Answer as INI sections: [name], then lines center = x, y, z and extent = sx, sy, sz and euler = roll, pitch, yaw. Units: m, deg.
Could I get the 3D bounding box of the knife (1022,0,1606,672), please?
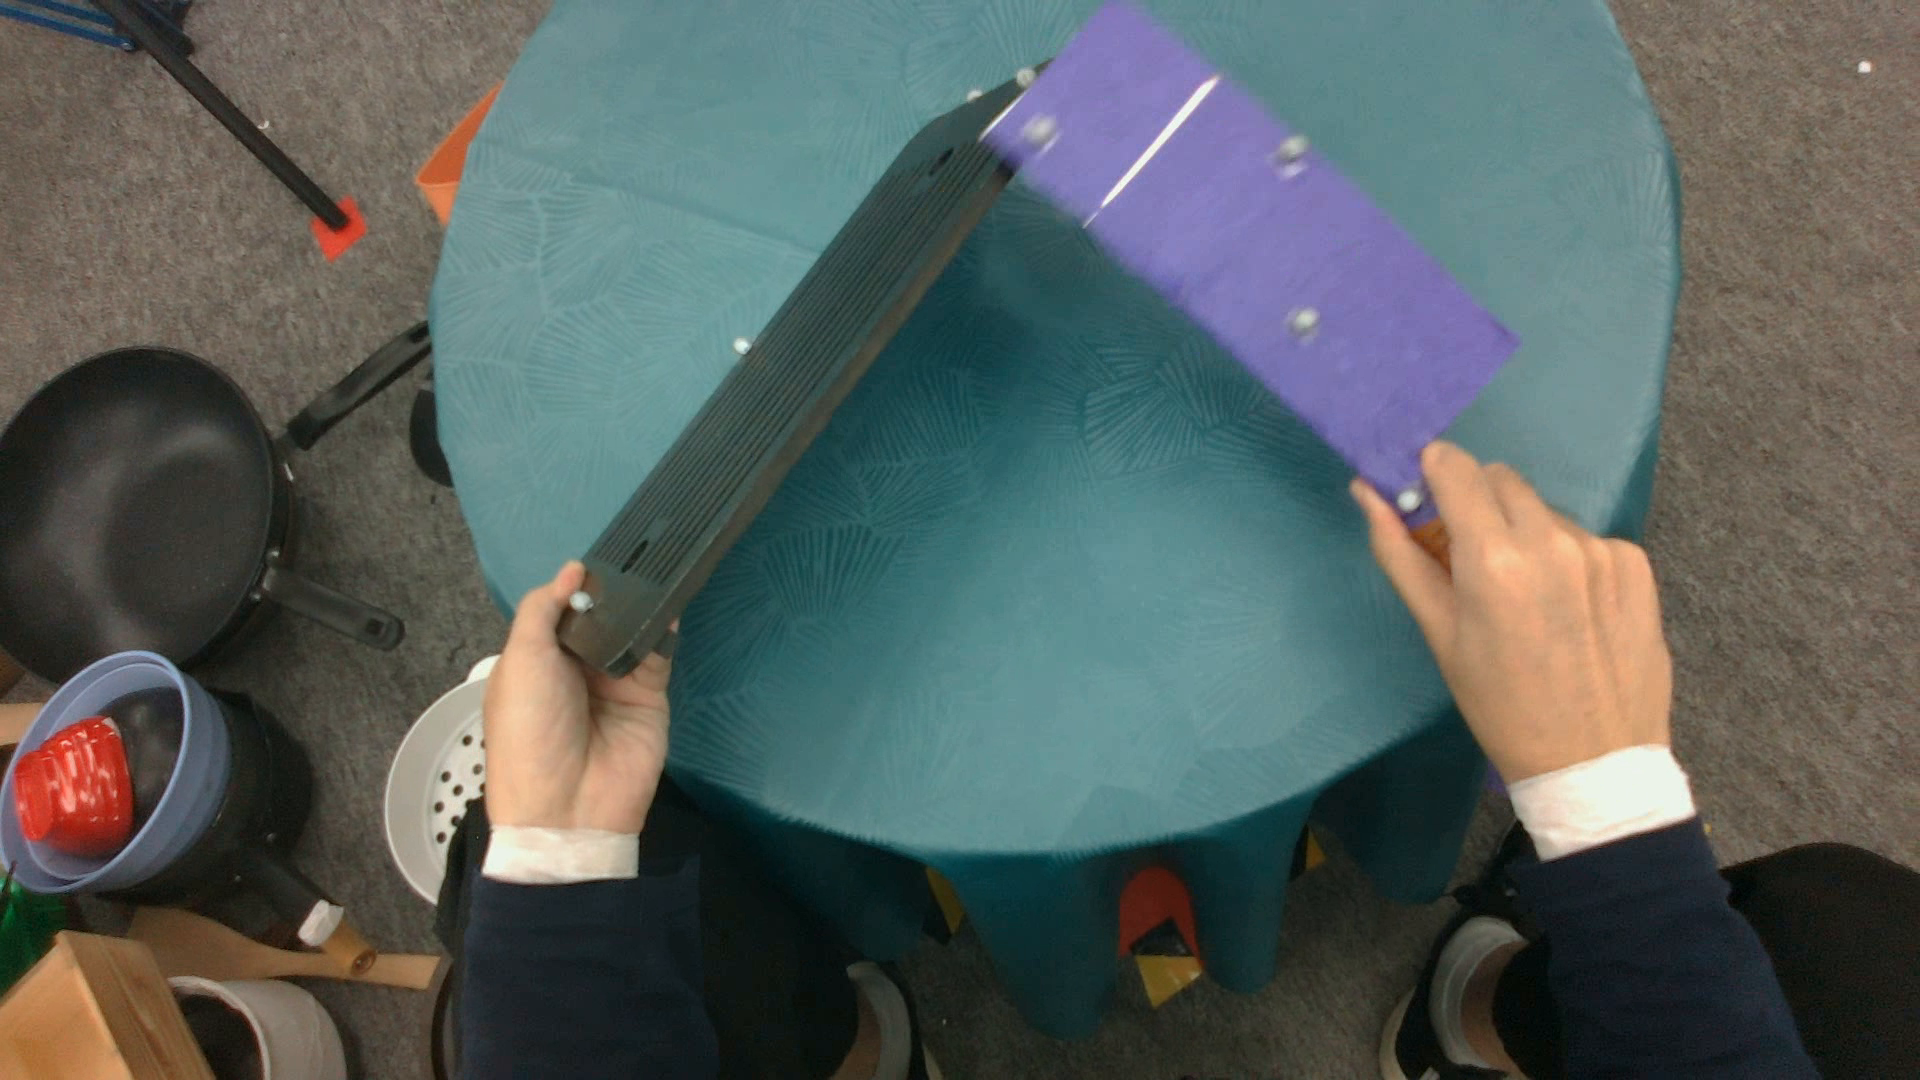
[knife]
center = 0.160, -0.096, 0.538
extent = 0.104, 0.032, 0.315
euler = -39, 90, -13

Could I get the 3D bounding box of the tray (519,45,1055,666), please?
[tray]
center = -0.075, -0.080, 0.589
extent = 0.018, 0.170, 0.306
euler = 41, 75, -23
